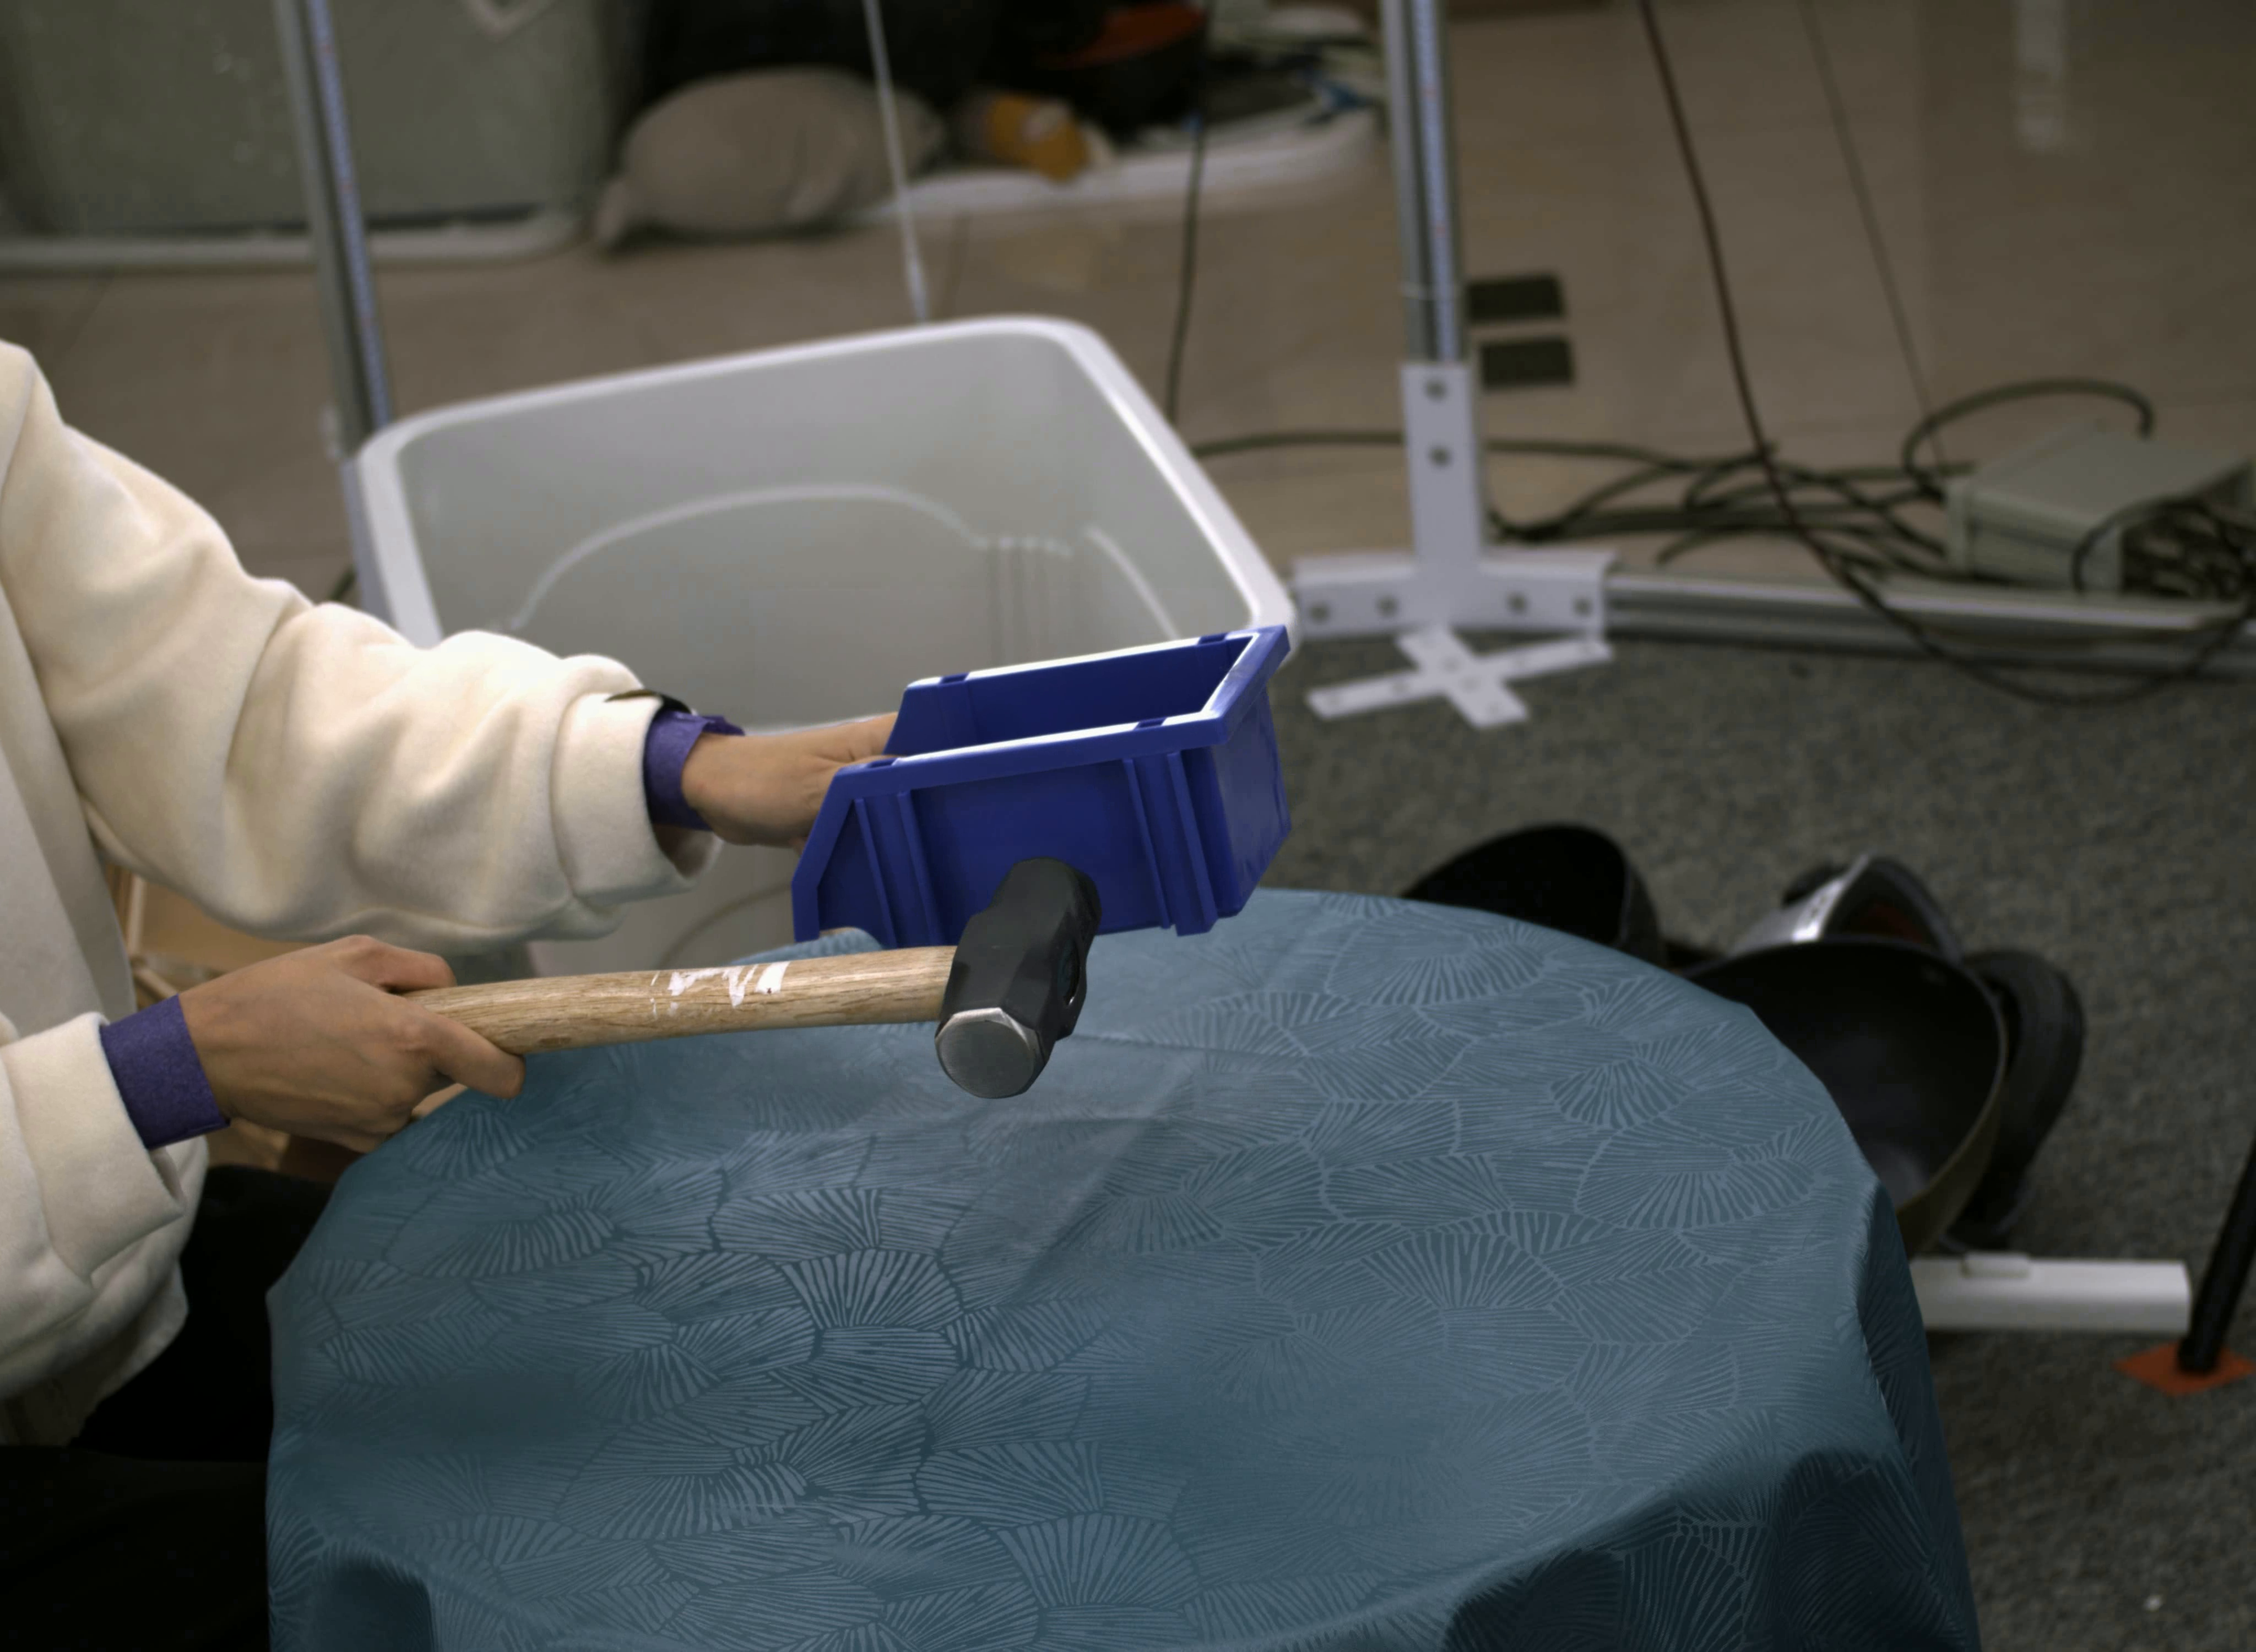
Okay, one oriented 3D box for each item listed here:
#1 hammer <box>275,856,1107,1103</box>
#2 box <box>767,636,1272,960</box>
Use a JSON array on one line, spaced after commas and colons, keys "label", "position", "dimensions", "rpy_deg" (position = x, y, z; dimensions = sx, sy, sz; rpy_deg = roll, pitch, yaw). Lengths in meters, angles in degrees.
[{"label": "hammer", "position": [-0.164, 0.061, 2.036], "dimensions": [0.305, 0.039, 0.105], "rpy_deg": [-4, 32, 19]}, {"label": "box", "position": [-0.039, -0.007, 2.124], "dimensions": [0.179, 0.083, 0.123], "rpy_deg": [-5, 18, 16]}]
